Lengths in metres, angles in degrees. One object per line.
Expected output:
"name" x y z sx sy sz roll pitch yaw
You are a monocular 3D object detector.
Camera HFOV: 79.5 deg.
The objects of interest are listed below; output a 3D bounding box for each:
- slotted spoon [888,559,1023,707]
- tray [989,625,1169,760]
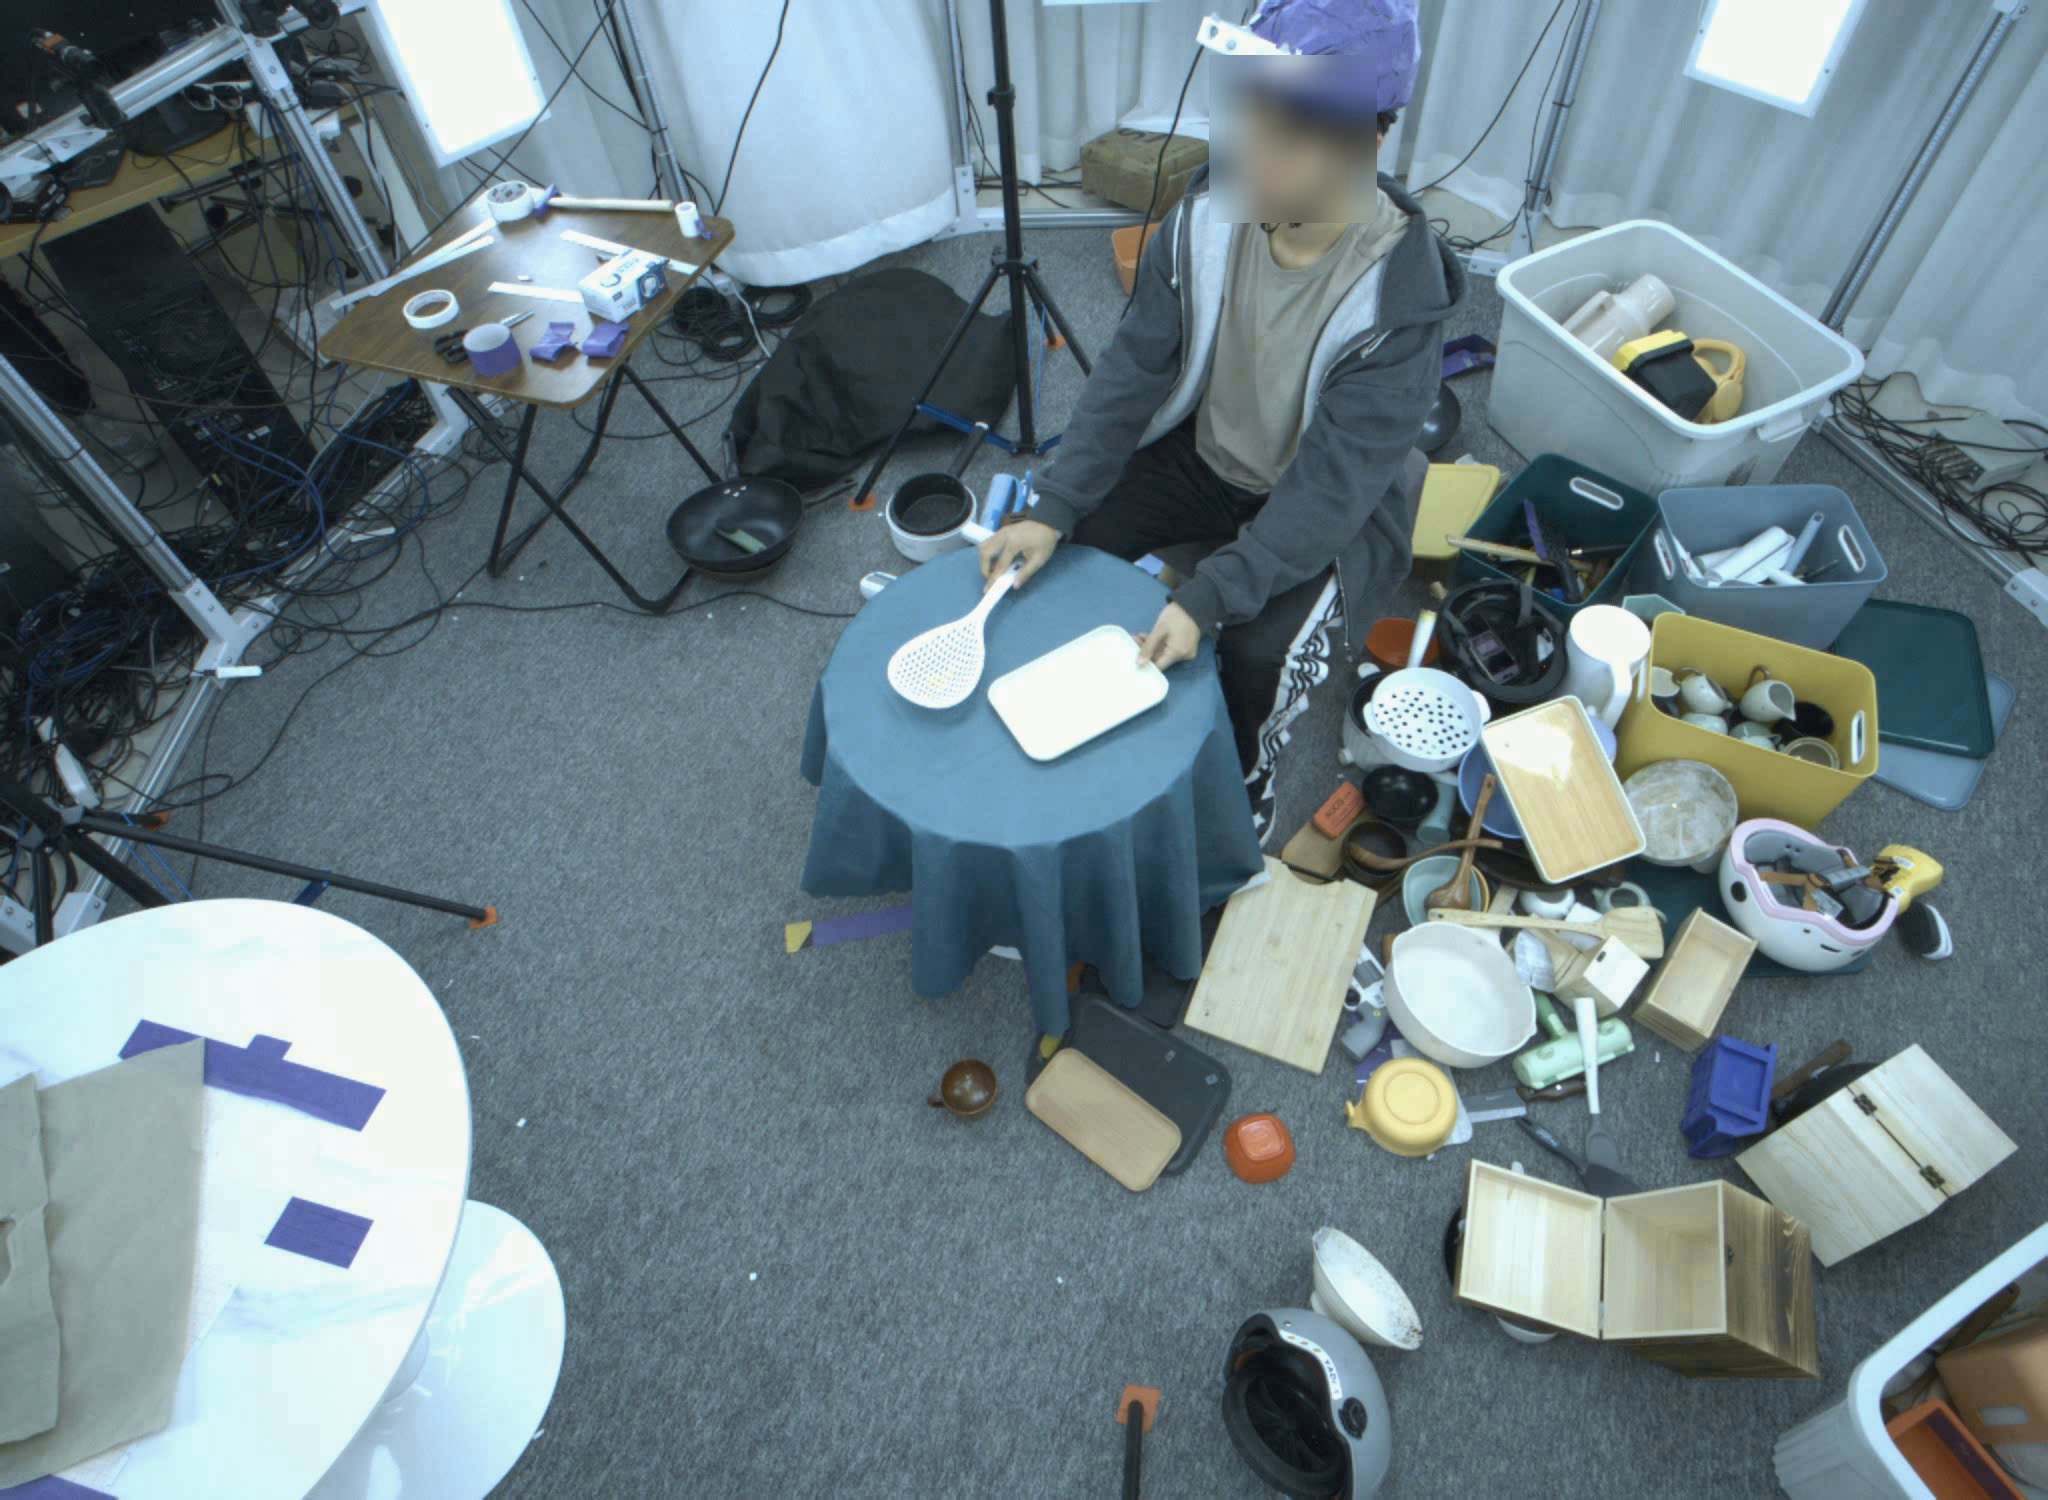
"slotted spoon" -0.081 -0.190 1.899 0.135 0.051 0.348 24 60 15
"tray" 0.082 -0.086 1.830 0.241 0.018 0.168 -28 57 -13
